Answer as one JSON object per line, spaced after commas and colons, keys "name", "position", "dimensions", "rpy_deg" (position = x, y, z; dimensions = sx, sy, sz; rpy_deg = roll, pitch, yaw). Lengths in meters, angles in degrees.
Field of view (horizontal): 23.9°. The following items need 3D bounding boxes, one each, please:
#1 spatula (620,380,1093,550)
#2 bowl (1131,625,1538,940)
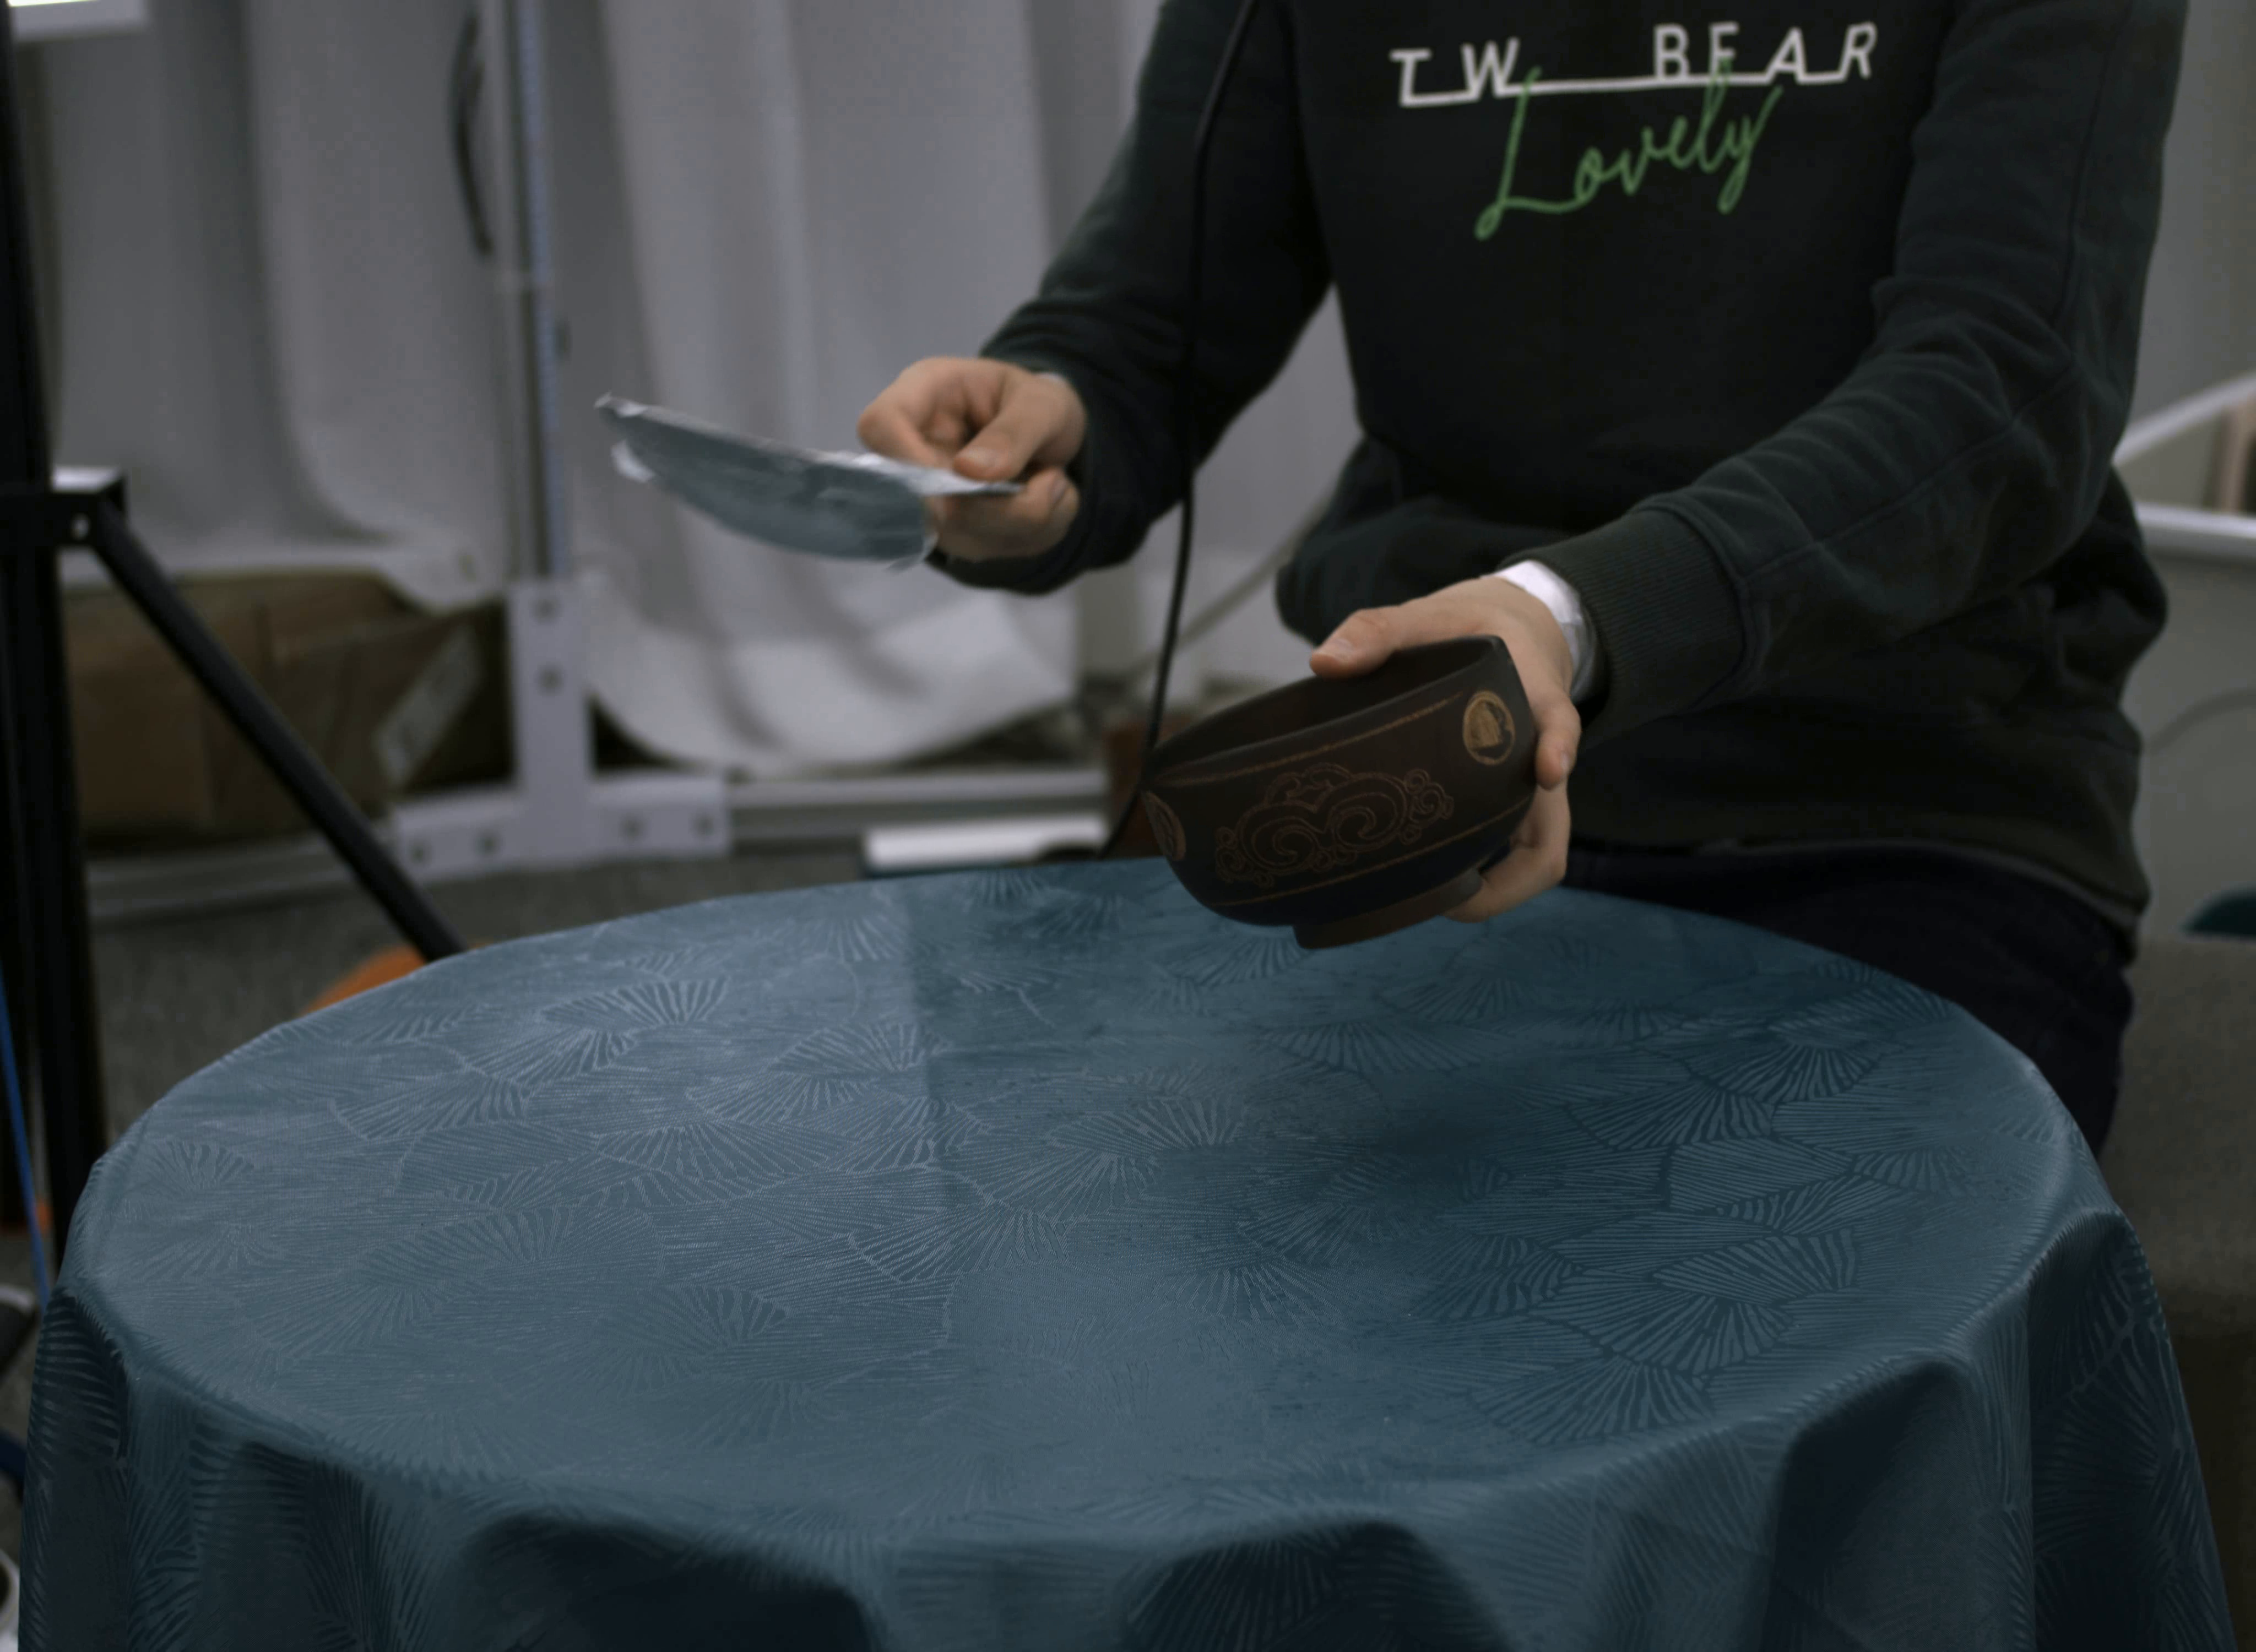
{"name": "spatula", "position": [-0.063, -0.111, 1.678], "dimensions": [0.099, 0.045, 0.360], "rpy_deg": [13, 8, 13]}
{"name": "bowl", "position": [0.066, -0.008, 1.559], "dimensions": [0.117, 0.070, 0.118], "rpy_deg": [-17, 7, 1]}
